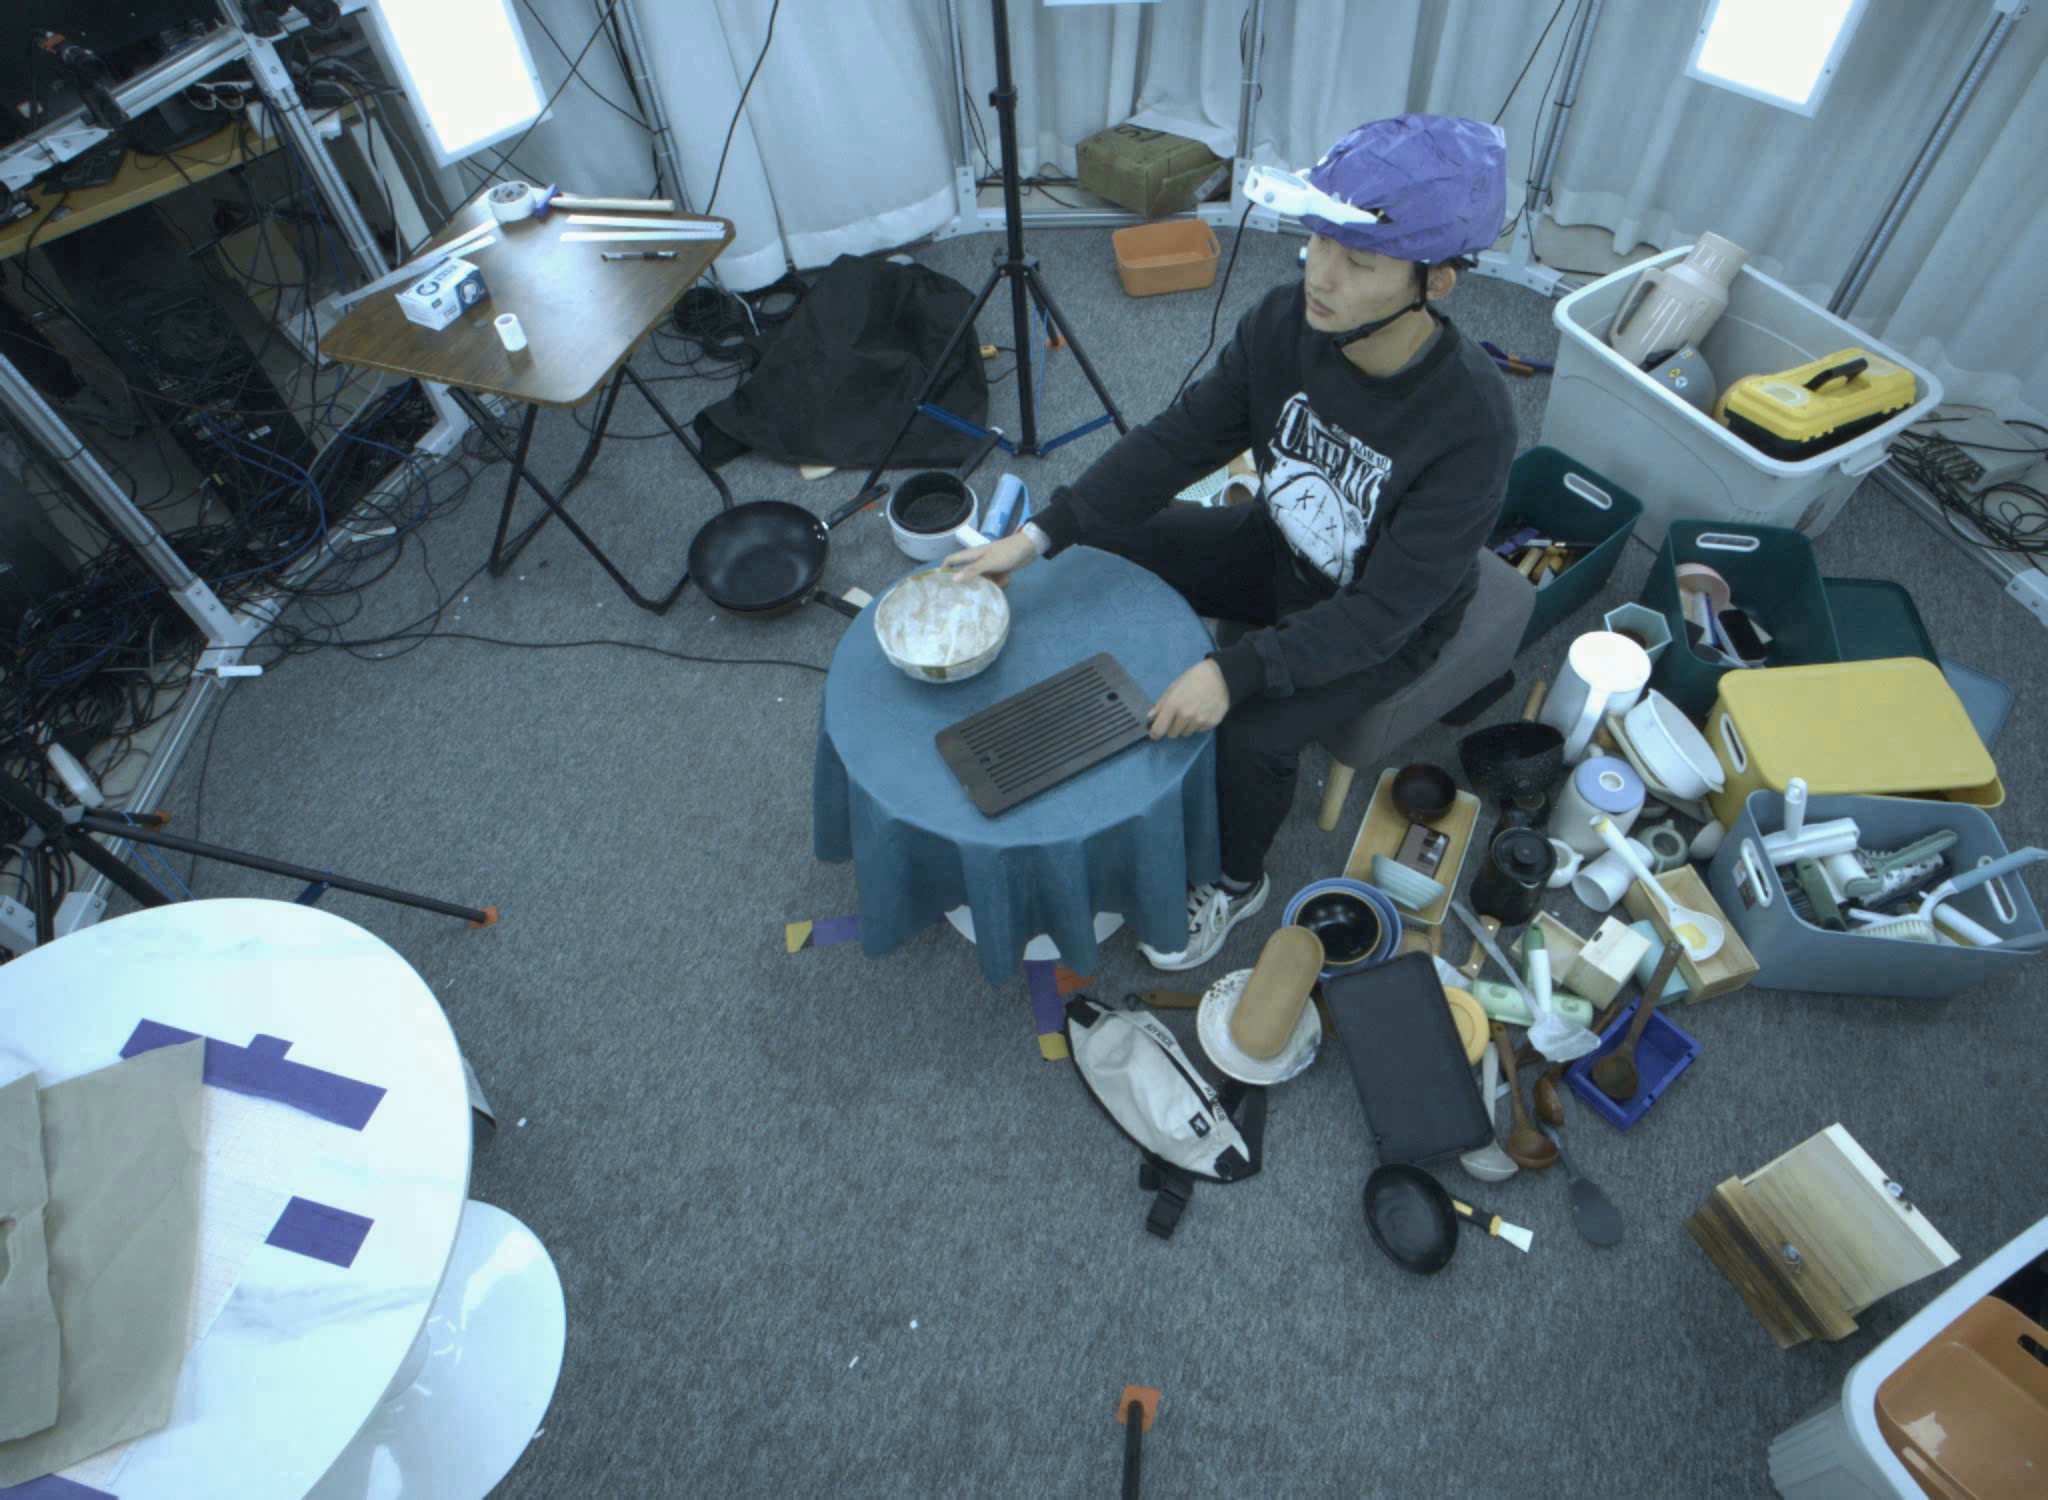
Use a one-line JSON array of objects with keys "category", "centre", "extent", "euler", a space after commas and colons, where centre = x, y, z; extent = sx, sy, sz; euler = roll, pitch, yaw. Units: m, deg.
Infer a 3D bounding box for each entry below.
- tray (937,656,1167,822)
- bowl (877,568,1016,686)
[{"category": "tray", "centre": [0.041, -0.019, 1.800], "extent": [0.308, 0.019, 0.167], "euler": [-27, 58, -16]}, {"category": "bowl", "centre": [-0.113, -0.170, 1.863], "extent": [0.214, 0.095, 0.212], "euler": [-1, 54, 2]}]
